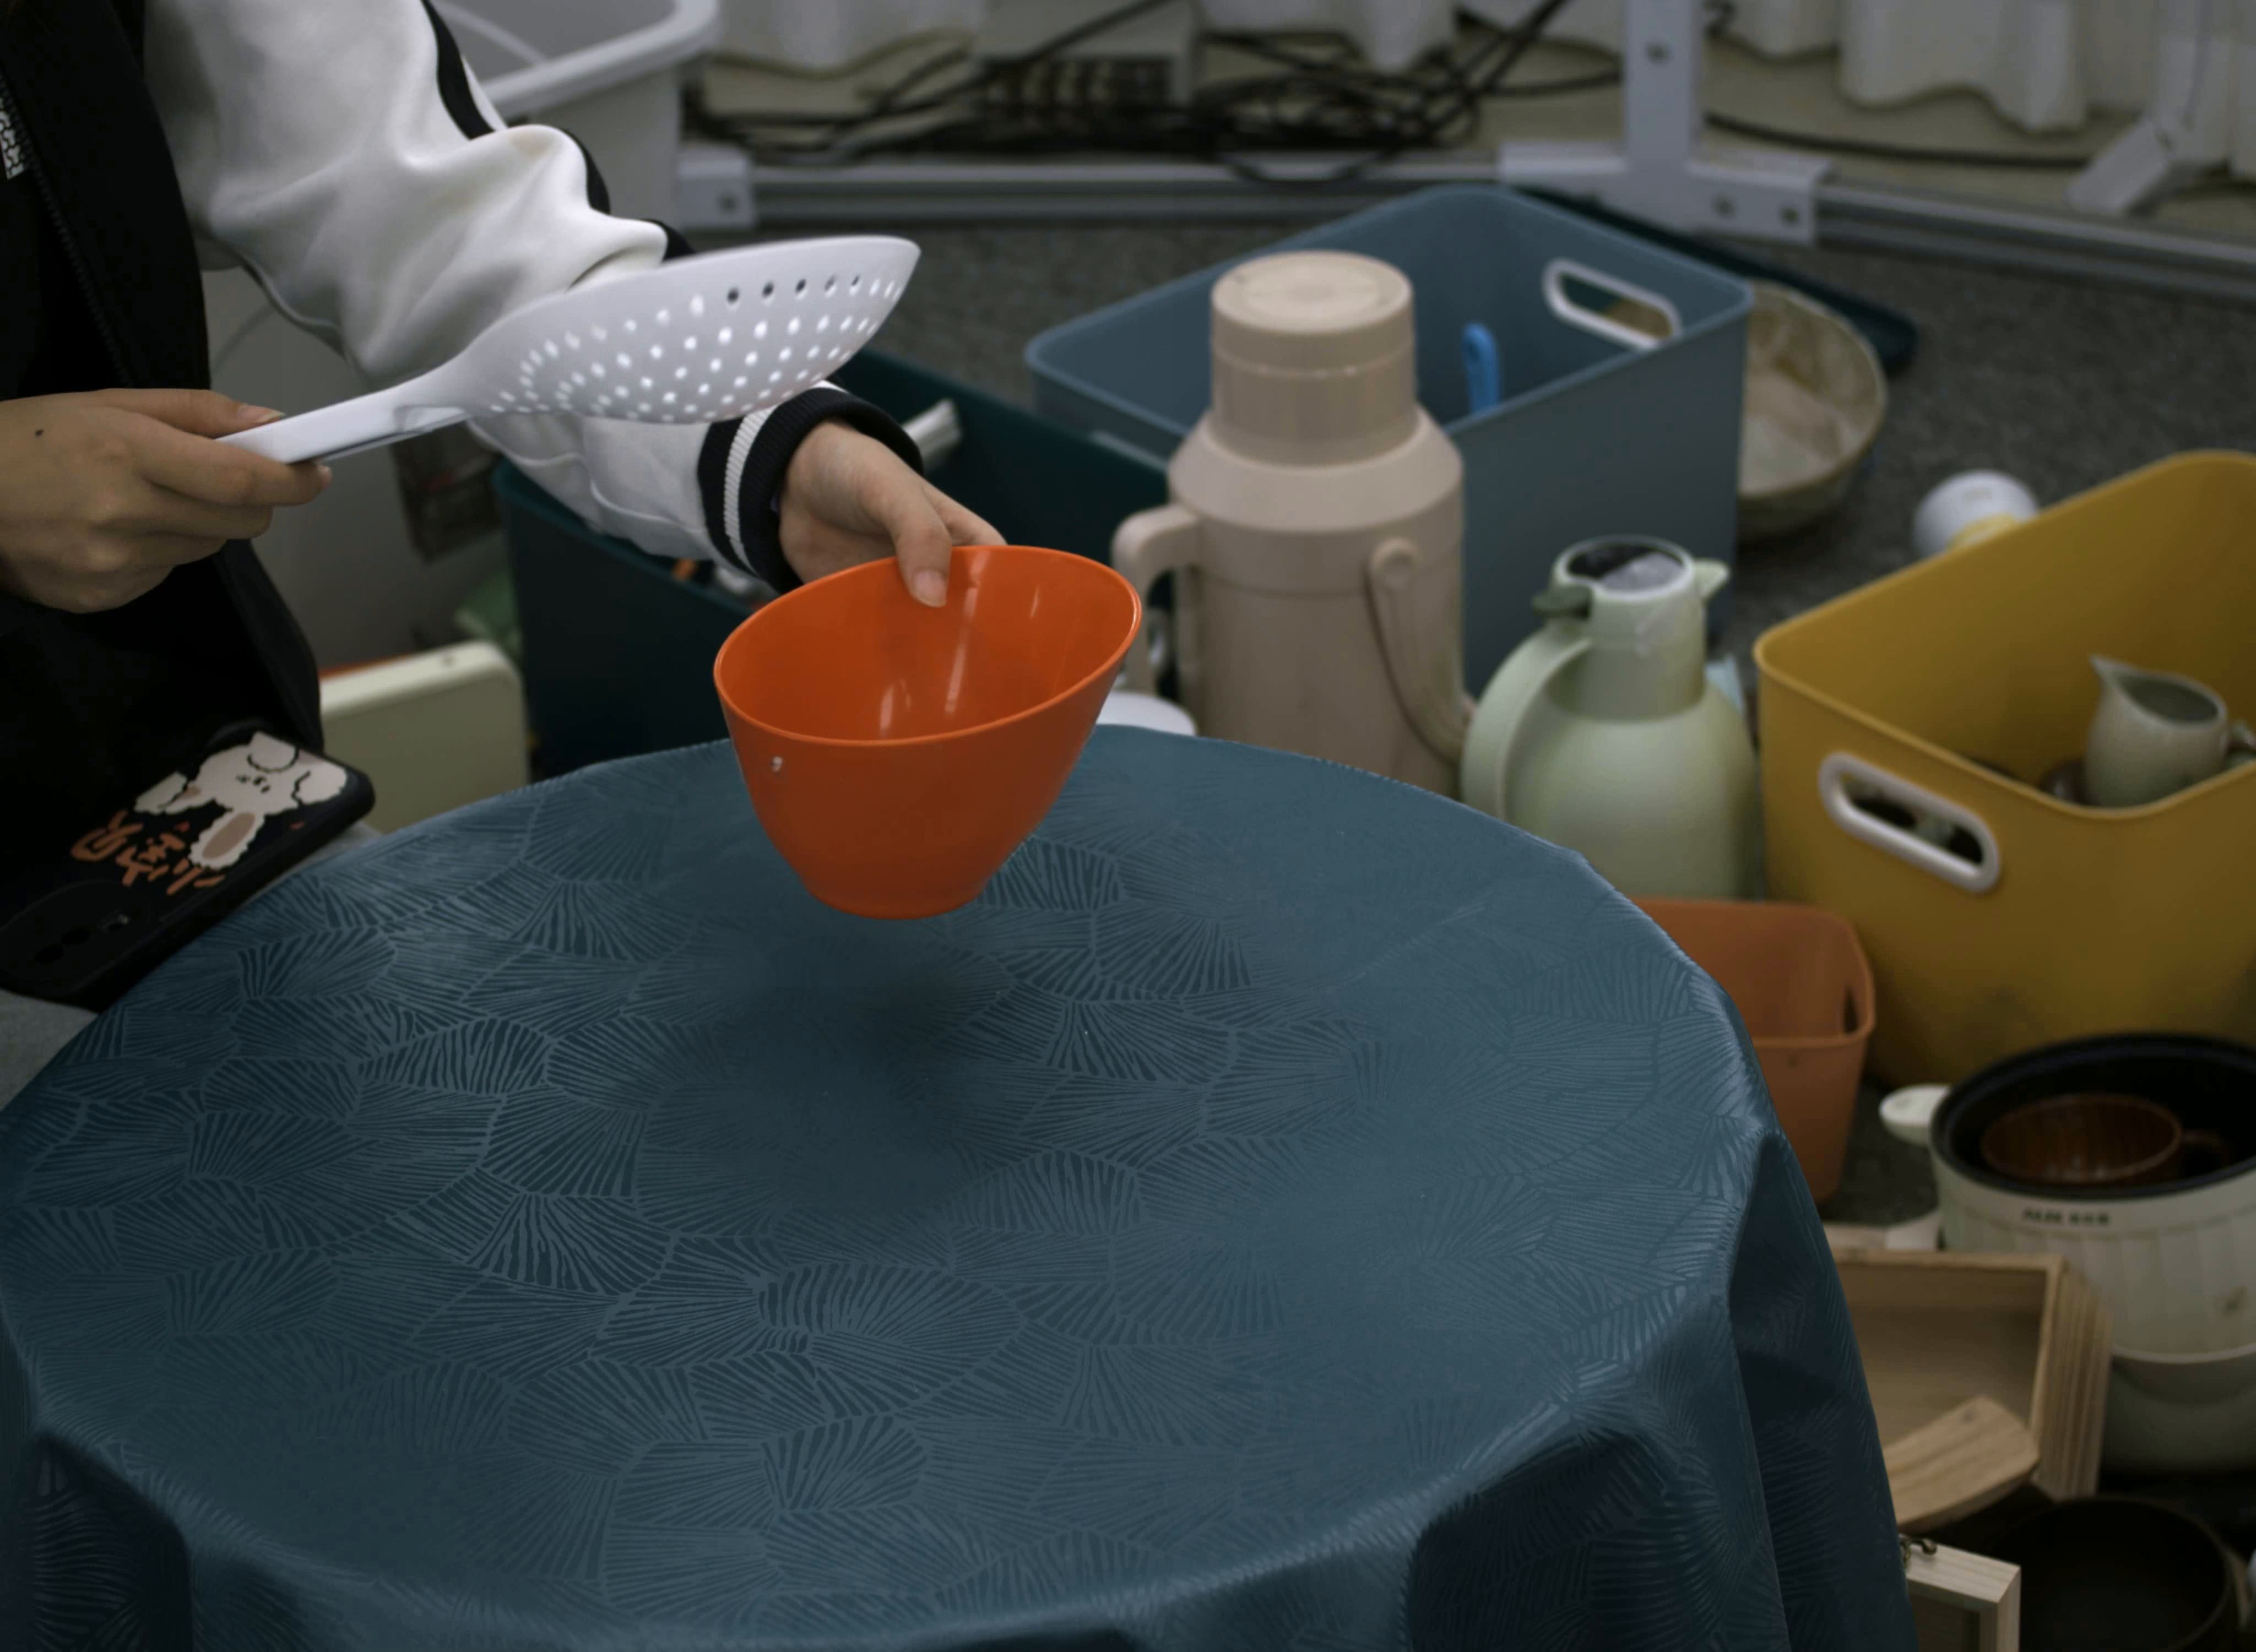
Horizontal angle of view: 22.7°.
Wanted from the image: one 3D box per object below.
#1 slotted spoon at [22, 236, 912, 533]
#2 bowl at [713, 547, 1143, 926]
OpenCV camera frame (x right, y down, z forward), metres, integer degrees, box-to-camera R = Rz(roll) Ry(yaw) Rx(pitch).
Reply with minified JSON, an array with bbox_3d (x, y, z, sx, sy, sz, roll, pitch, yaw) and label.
[{"bbox_3d":[-0.221,-0.138,1.808,0.346,0.046,0.137,-7,1,31],"label":"slotted spoon"},{"bbox_3d":[-0.069,-0.026,1.939,0.147,0.103,0.150,1,28,0],"label":"bowl"}]
